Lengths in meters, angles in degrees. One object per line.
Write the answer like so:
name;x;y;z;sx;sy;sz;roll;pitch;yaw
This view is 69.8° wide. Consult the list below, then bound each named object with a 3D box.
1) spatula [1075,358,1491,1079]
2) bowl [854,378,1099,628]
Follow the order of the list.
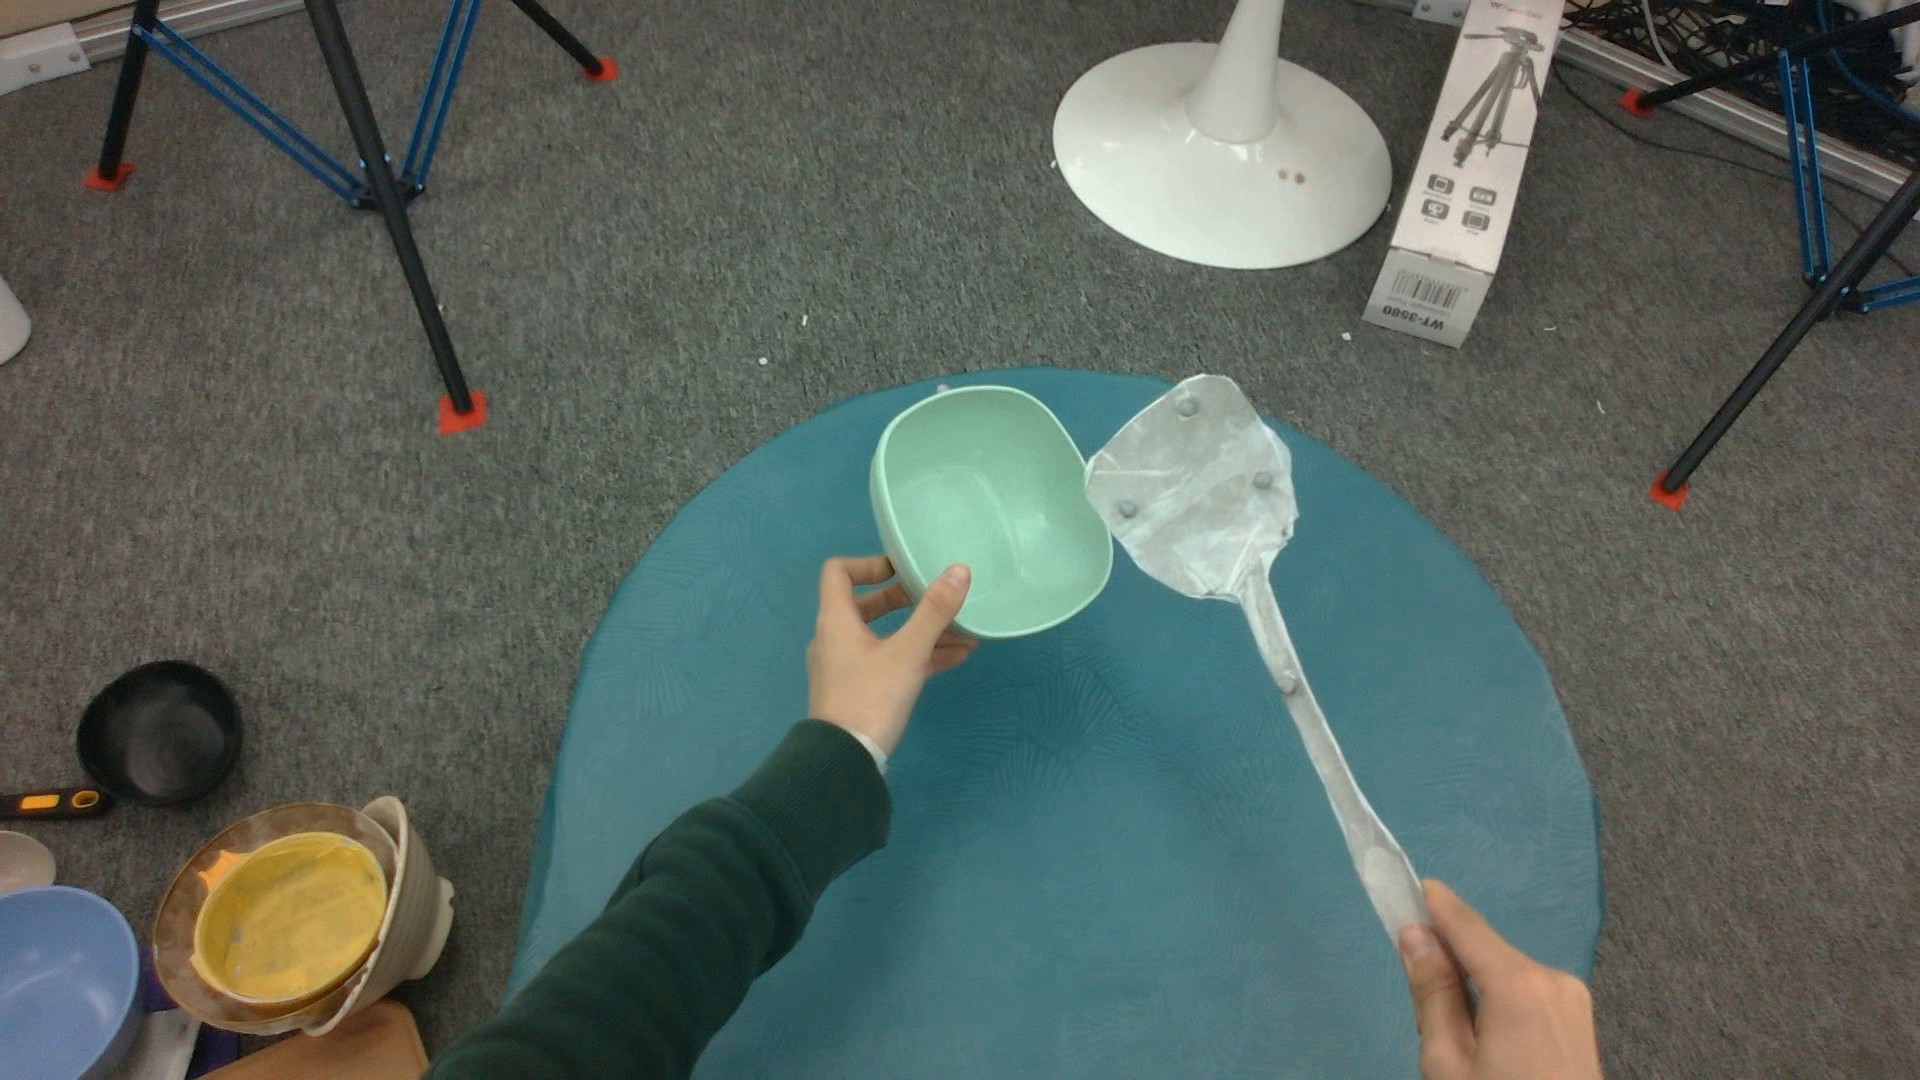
spatula;0.148;0.078;0.608;0.045;0.098;0.366;24;39;-47
bowl;0.000;-0.013;0.751;0.151;0.058;0.152;15;60;-28
